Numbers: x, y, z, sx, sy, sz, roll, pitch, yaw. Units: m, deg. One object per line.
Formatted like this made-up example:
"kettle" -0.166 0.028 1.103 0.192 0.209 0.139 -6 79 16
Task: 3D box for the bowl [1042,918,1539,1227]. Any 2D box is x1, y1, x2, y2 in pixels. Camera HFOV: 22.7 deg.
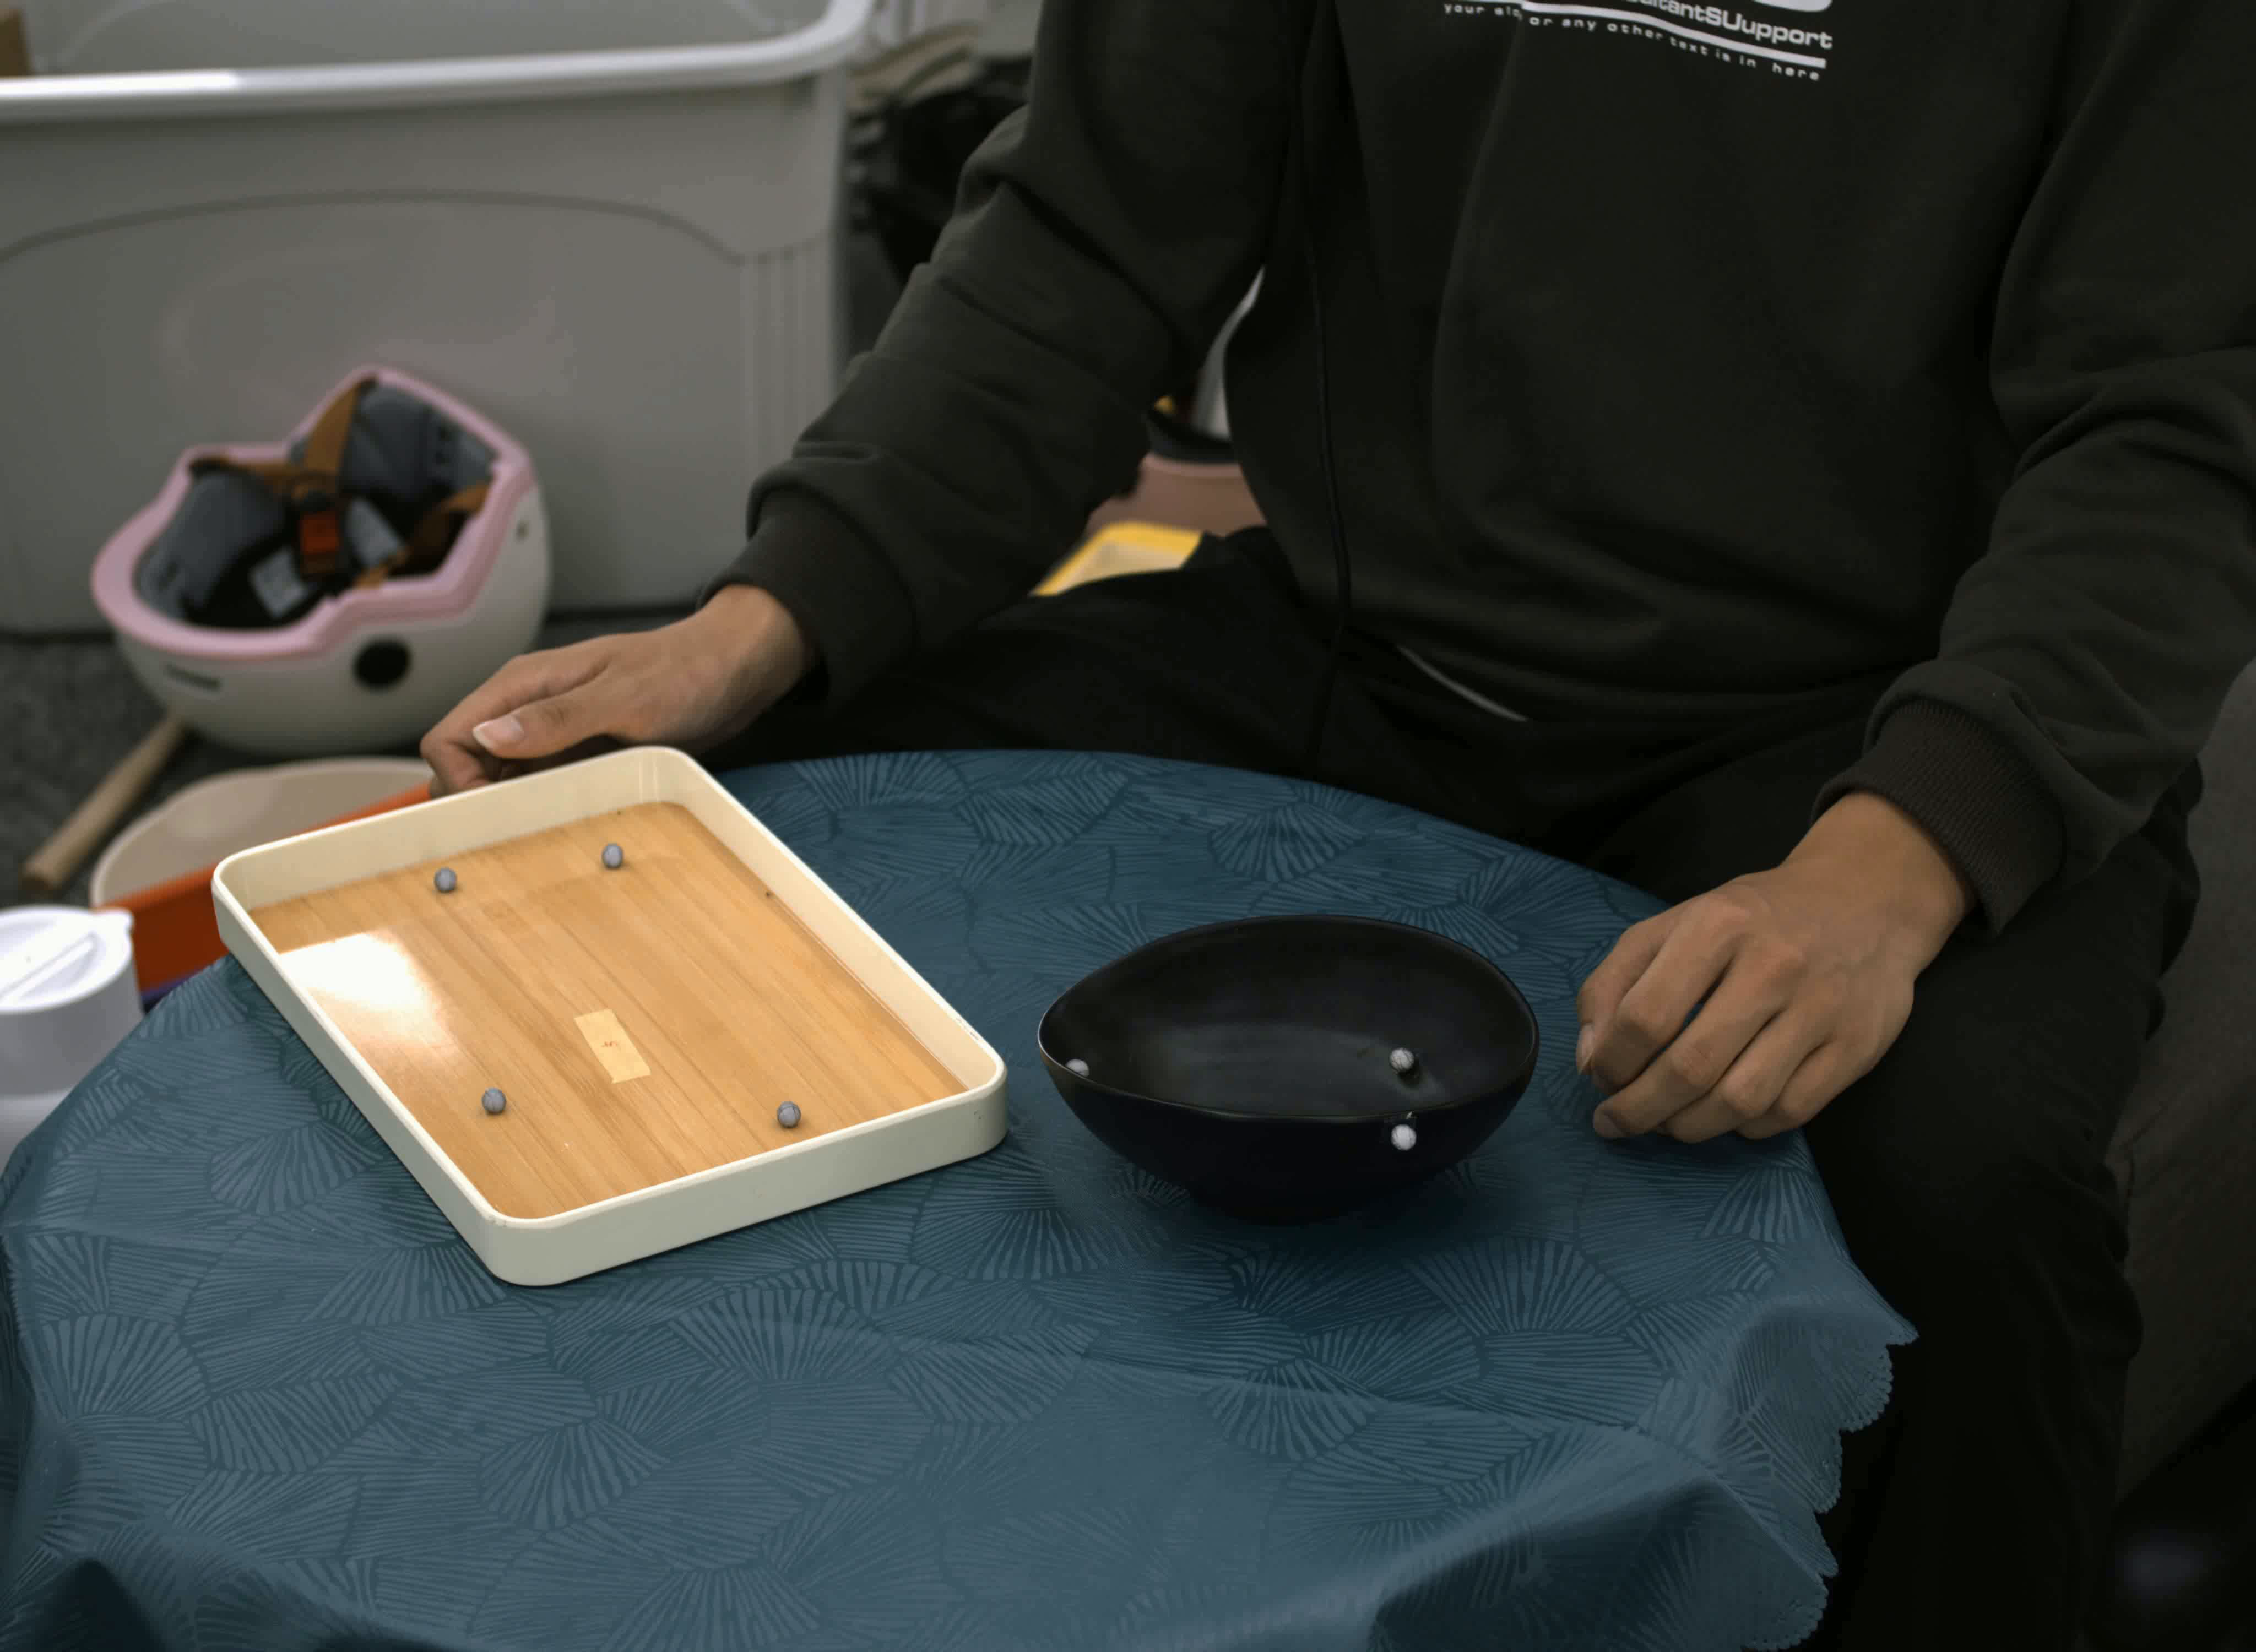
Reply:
"bowl" 0.052 0.090 1.857 0.169 0.066 0.139 5 27 18

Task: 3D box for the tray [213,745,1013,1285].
"tray" -0.185 0.061 1.968 0.192 0.027 0.302 -16 30 -23
